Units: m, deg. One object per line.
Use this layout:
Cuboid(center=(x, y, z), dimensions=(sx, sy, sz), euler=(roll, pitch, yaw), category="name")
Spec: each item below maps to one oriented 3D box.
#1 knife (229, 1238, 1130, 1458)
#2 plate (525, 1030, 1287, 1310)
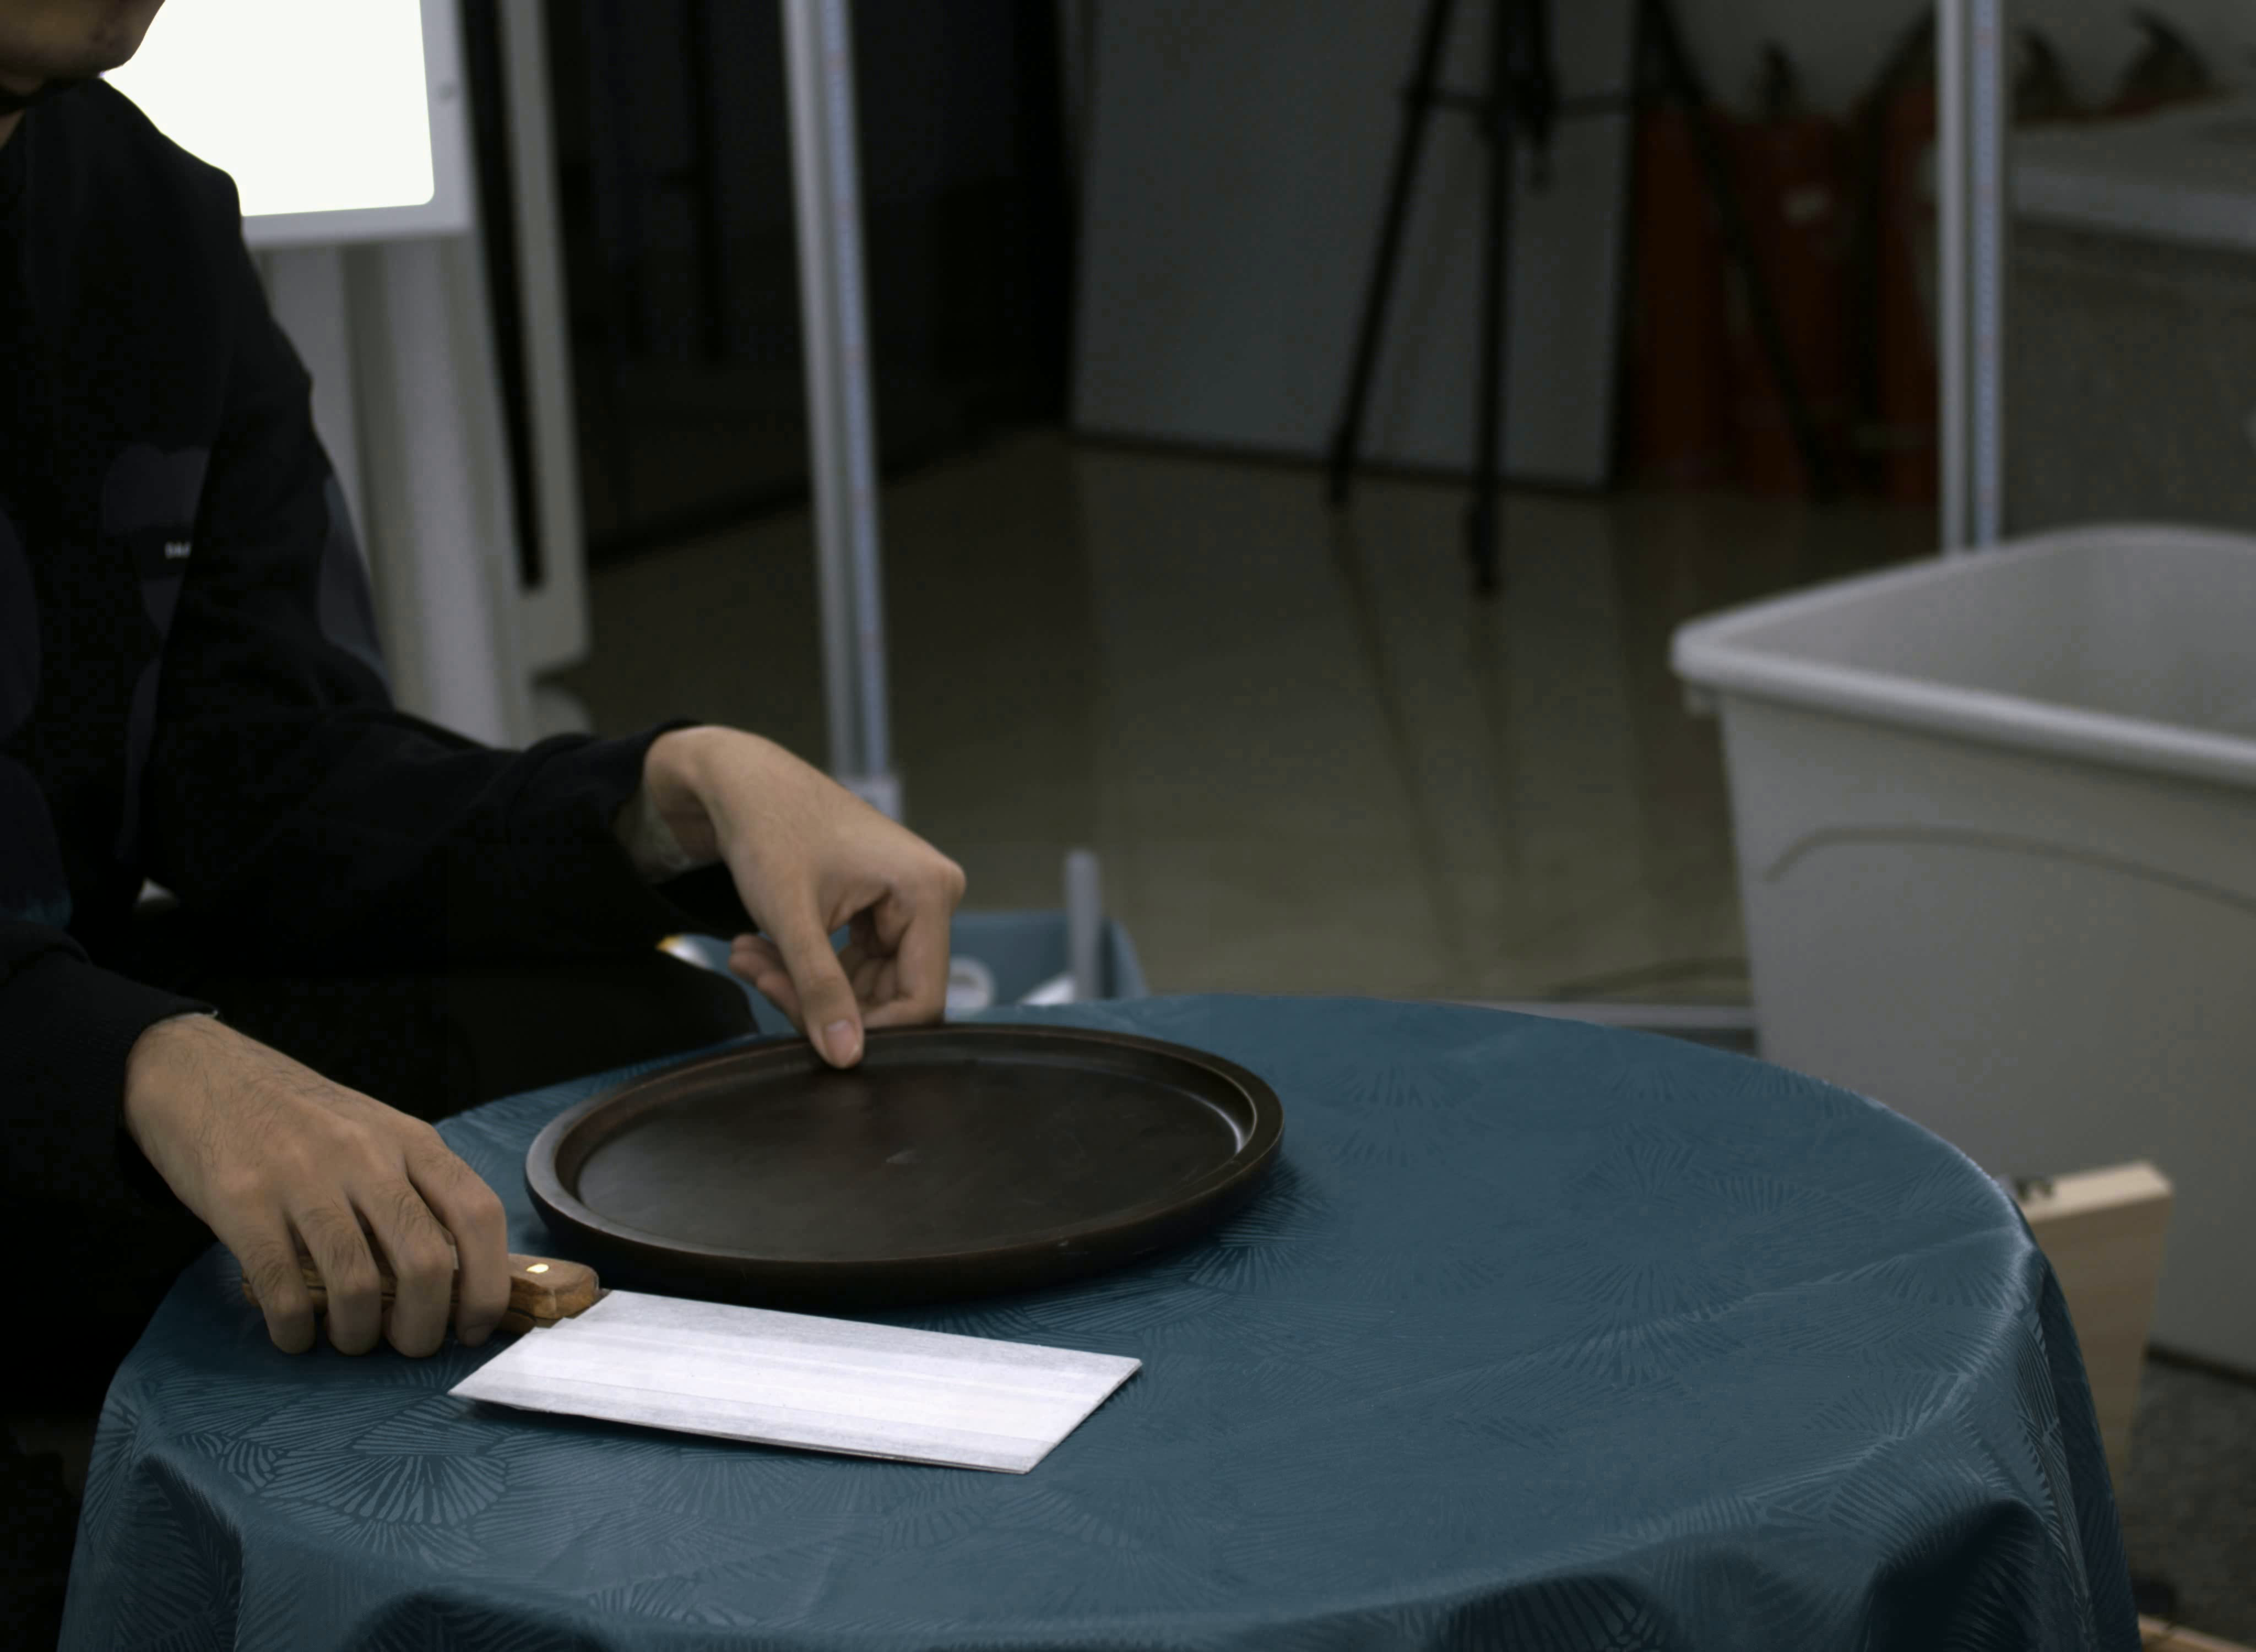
Cuboid(center=(-0.149, 0.160, 1.627), dimensions=(0.306, 0.021, 0.092), euler=(5, 18, 24), category="knife")
Cuboid(center=(-0.072, 0.111, 1.779), dimensions=(0.251, 0.029, 0.255), euler=(-3, 12, 0), category="plate")
